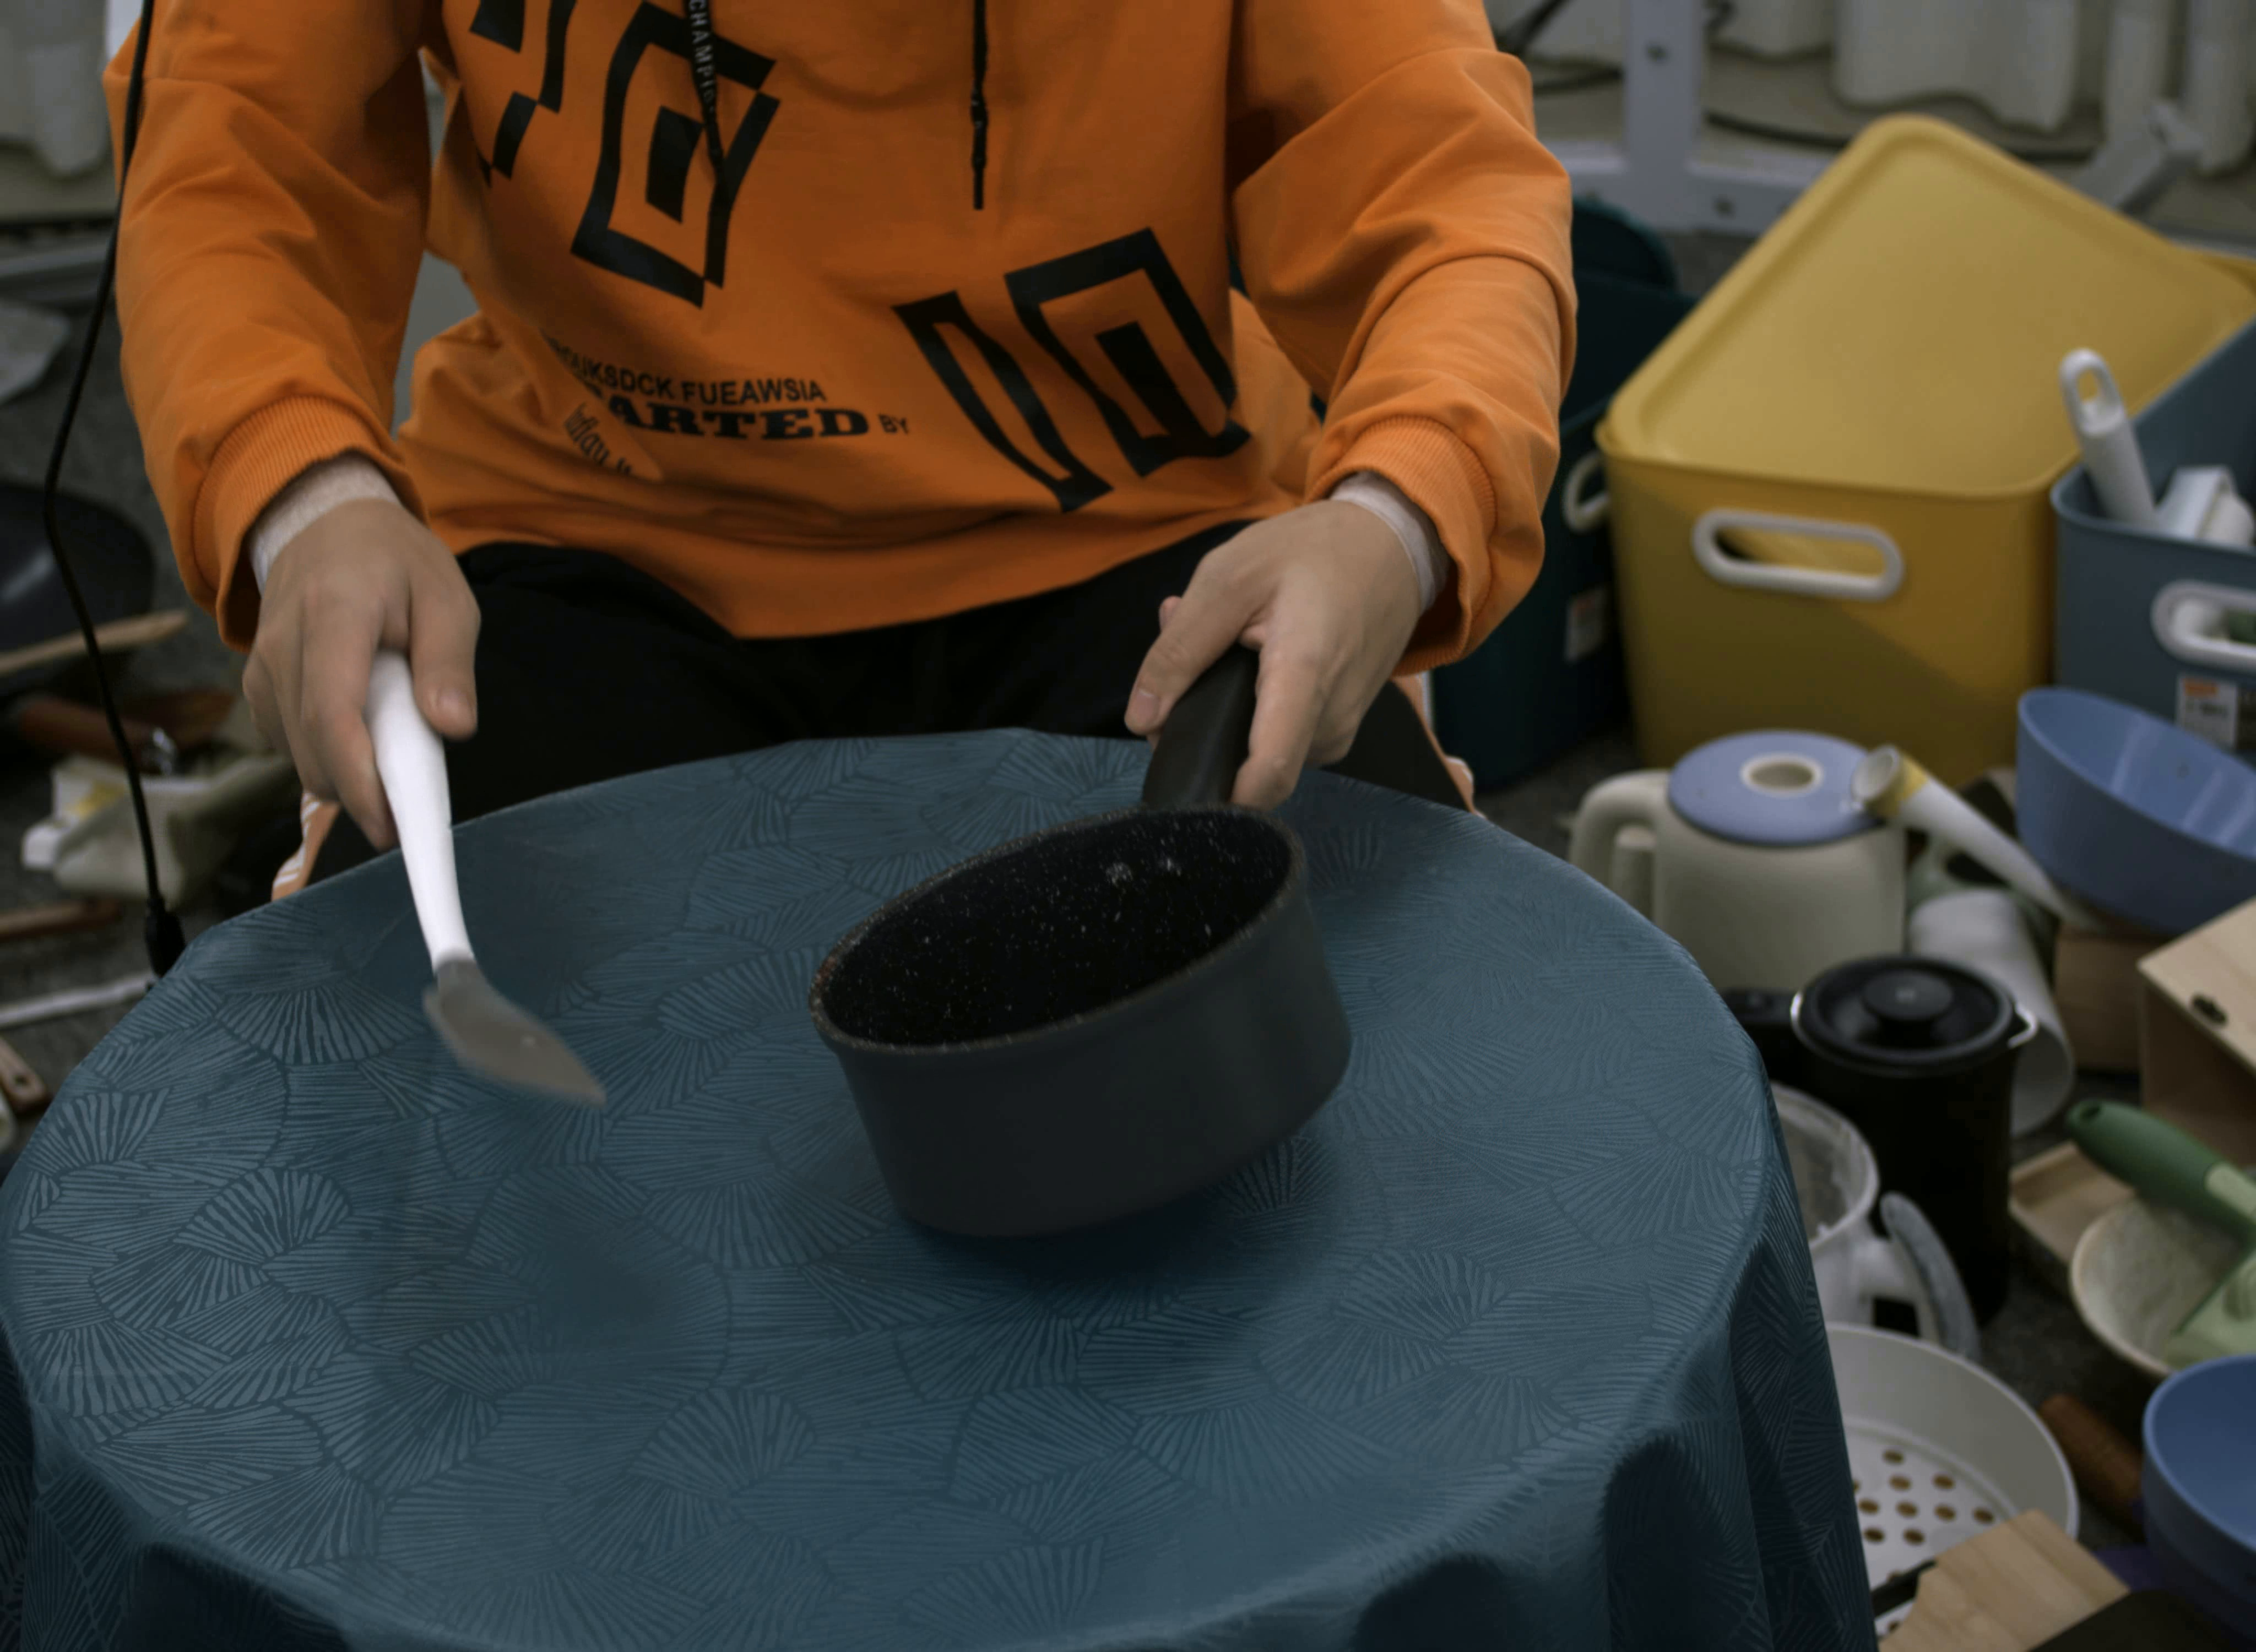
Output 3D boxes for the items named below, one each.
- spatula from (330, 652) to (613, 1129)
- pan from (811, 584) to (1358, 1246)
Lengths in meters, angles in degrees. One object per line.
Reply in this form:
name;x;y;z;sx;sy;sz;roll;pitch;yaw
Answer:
spatula;-0.227;0.025;1.874;0.058;0.032;0.291;22;21;-28
pan;0.013;0.027;1.915;0.170;0.086;0.334;-7;25;24
